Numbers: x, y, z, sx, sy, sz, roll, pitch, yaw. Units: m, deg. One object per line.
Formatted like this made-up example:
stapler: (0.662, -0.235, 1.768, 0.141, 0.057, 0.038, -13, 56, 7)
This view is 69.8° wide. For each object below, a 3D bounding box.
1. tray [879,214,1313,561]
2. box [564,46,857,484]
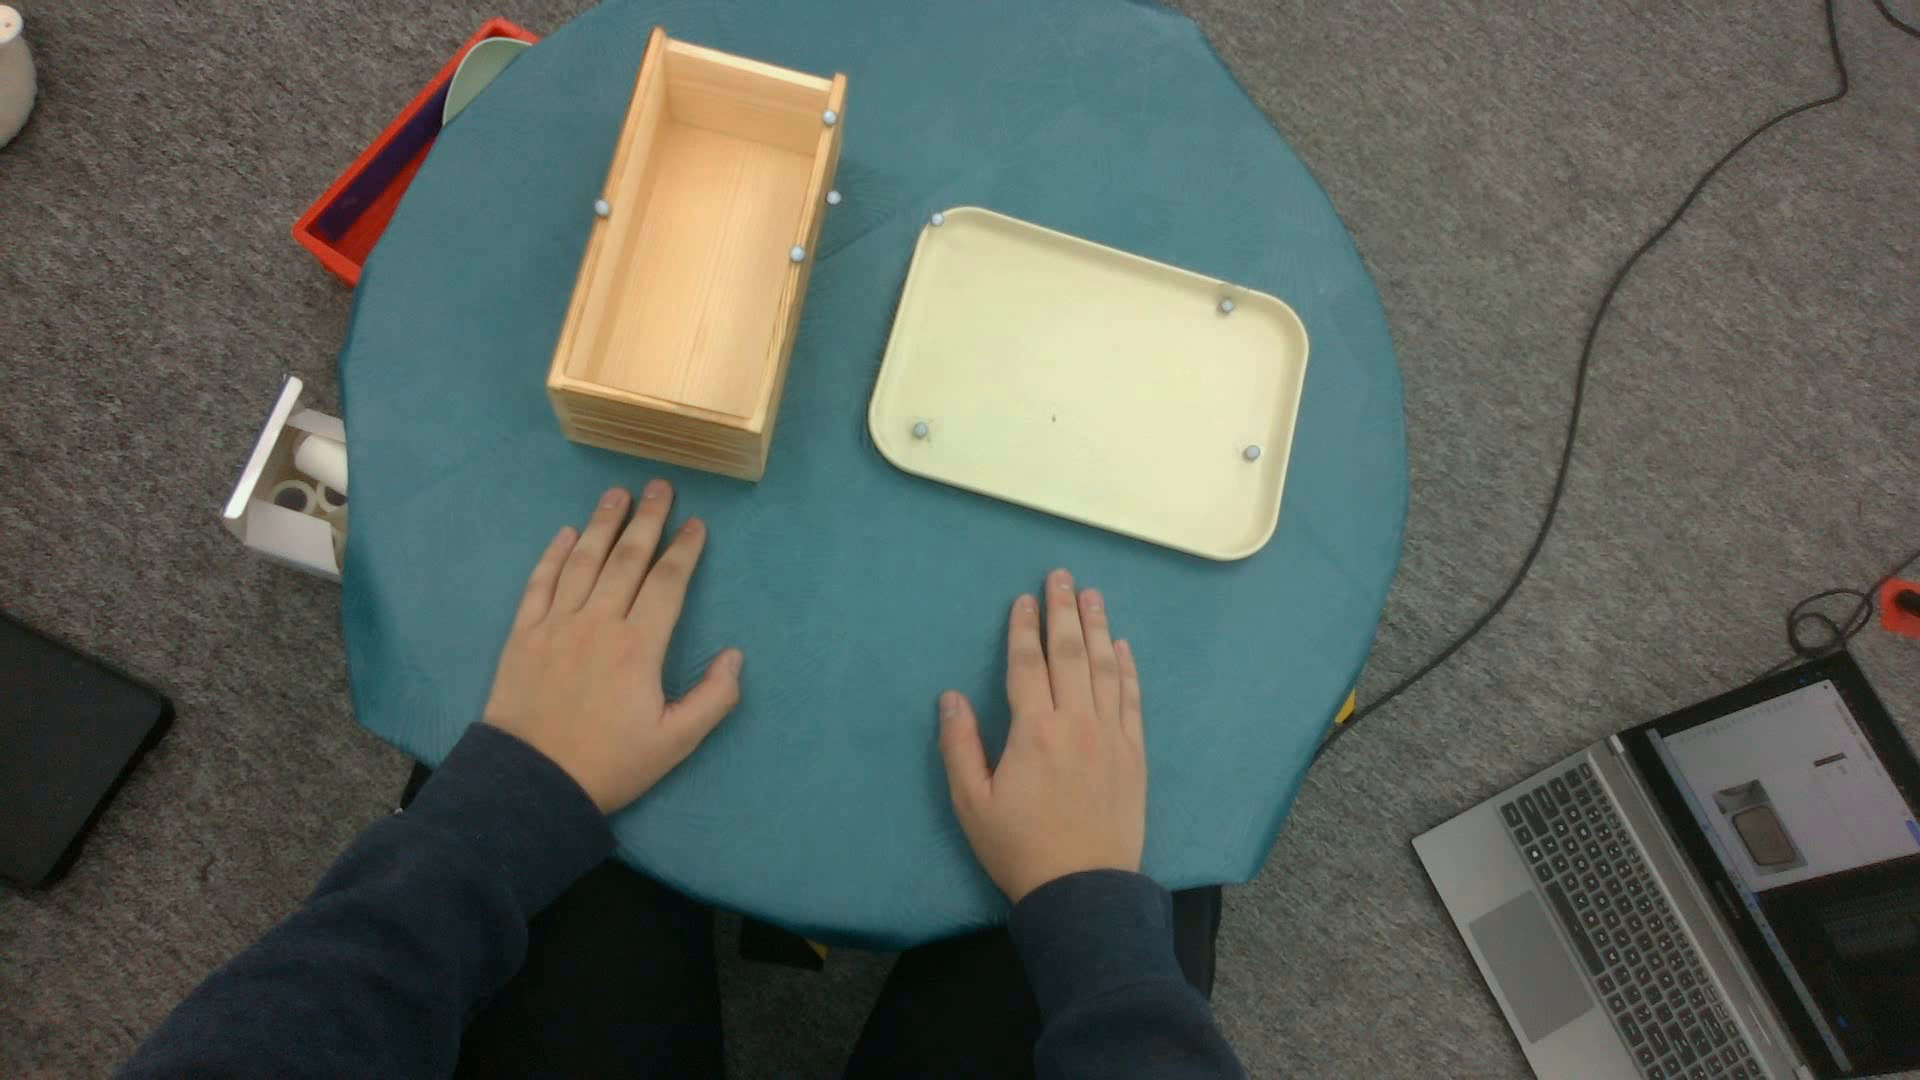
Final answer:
tray: (0.082, -0.089, 0.802, 0.240, 0.017, 0.172, 16, 72, -3)
box: (-0.132, -0.150, 0.757, 0.107, 0.080, 0.212, 12, 72, -4)
